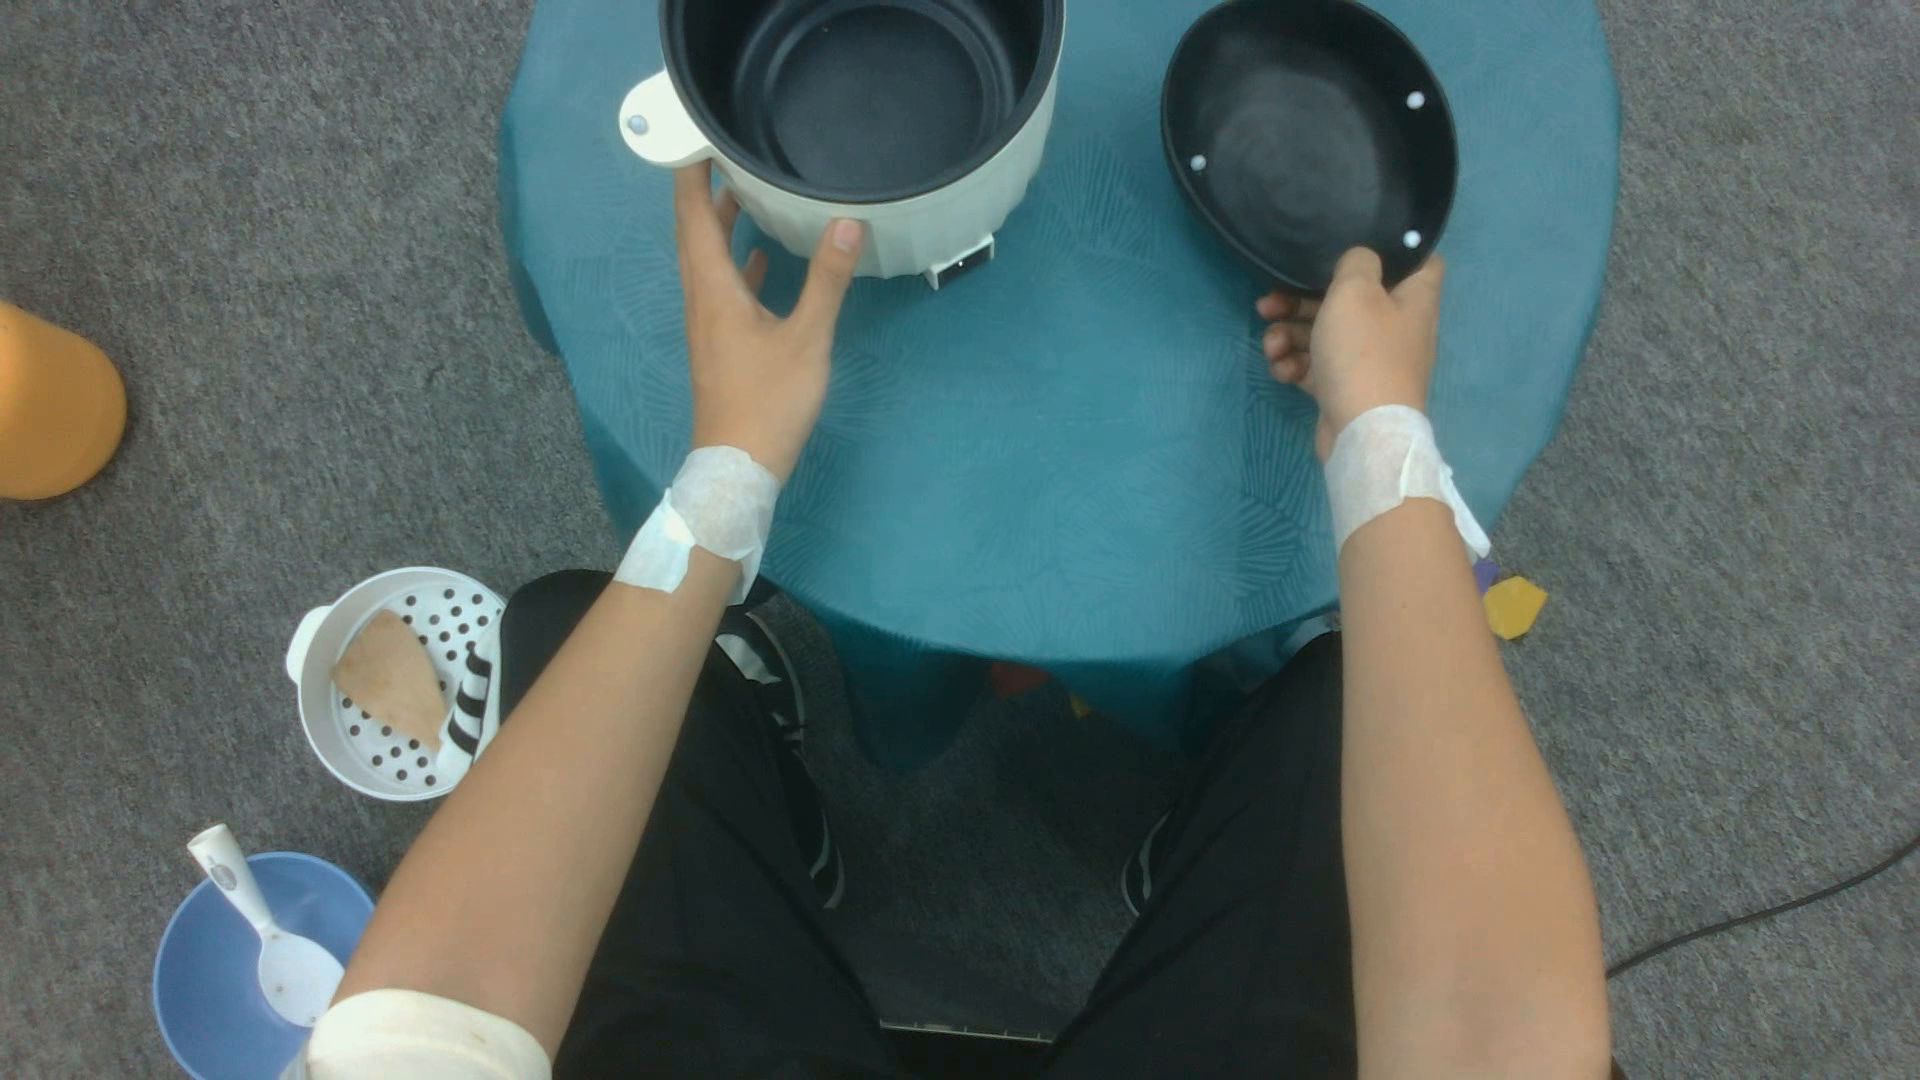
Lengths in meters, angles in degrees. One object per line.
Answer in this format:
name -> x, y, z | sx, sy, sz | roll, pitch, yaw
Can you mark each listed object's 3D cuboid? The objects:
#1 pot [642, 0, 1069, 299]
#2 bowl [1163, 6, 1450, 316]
pot -> -0.043, -0.226, 0.698 | 0.240, 0.142, 0.190 | -31, 84, -4
bowl -> 0.178, -0.192, 0.723 | 0.137, 0.066, 0.170 | -31, 82, -3
